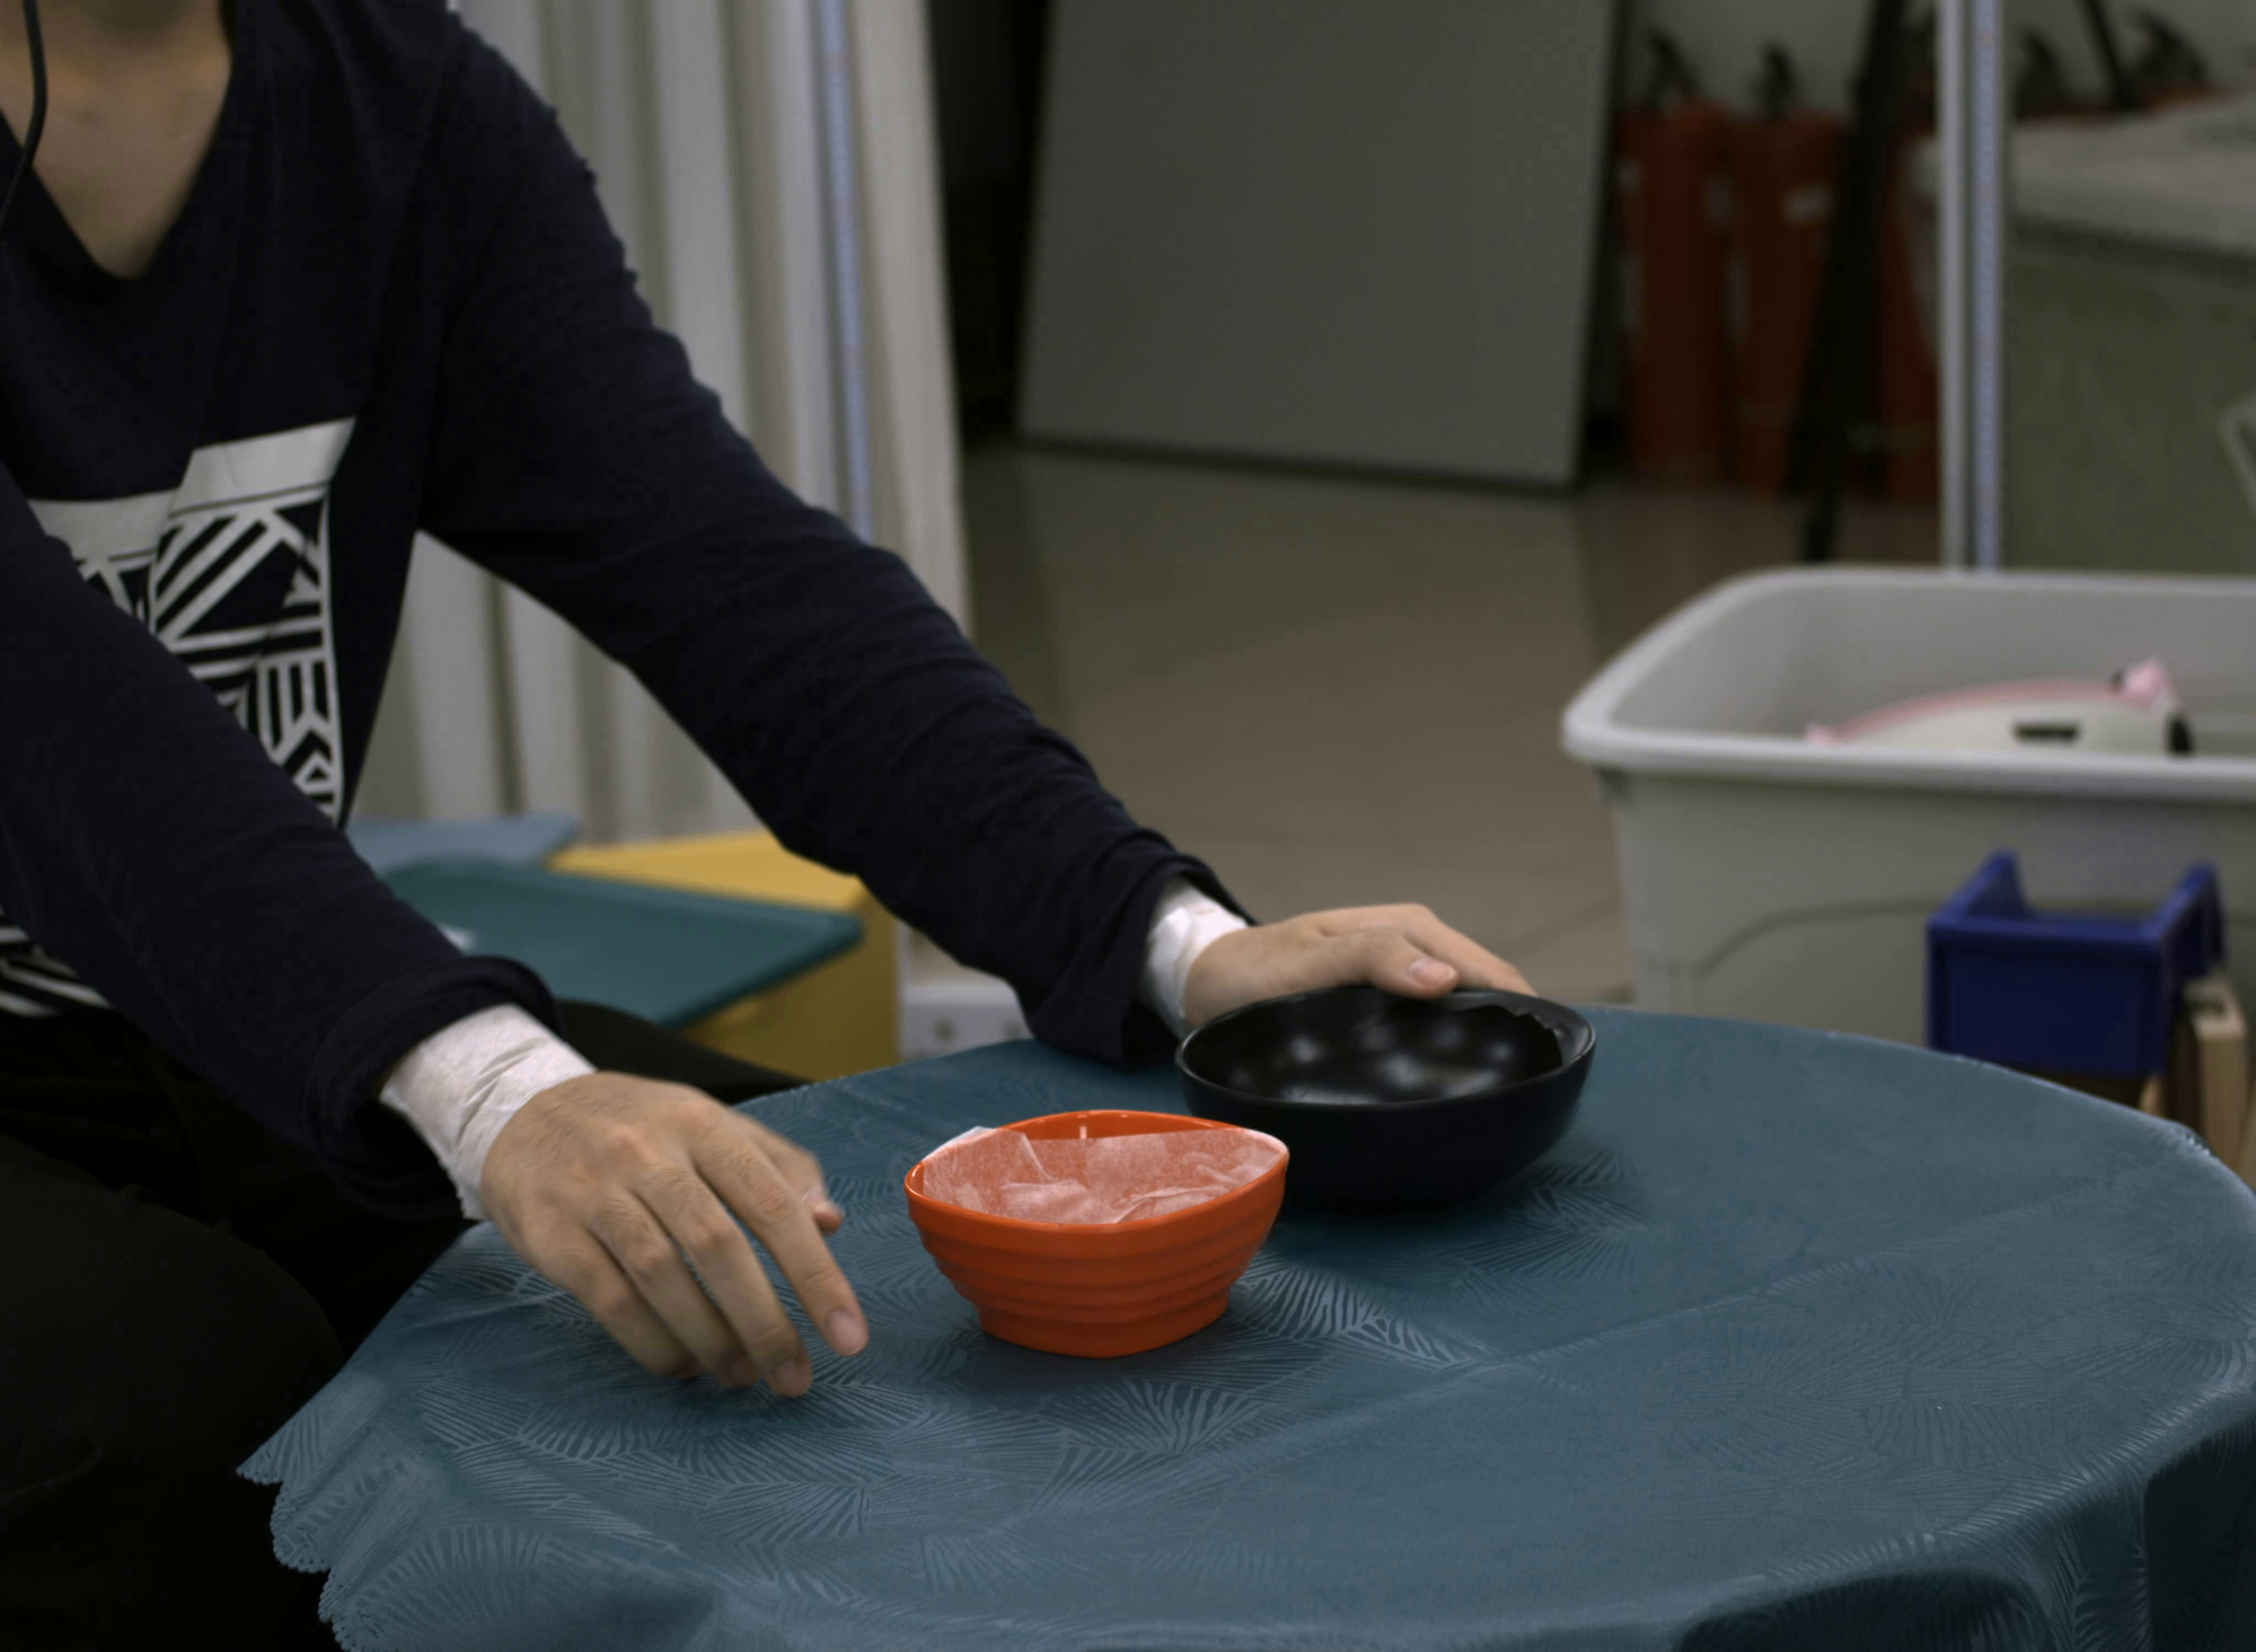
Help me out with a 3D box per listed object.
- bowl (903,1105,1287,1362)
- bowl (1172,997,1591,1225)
[{"bbox_3d":[-0.009,0.126,1.646,0.117,0.052,0.119,-4,15,0],"label":"bowl"},{"bbox_3d":[0.085,0.097,1.758,0.138,0.050,0.140,-7,11,0],"label":"bowl"}]
